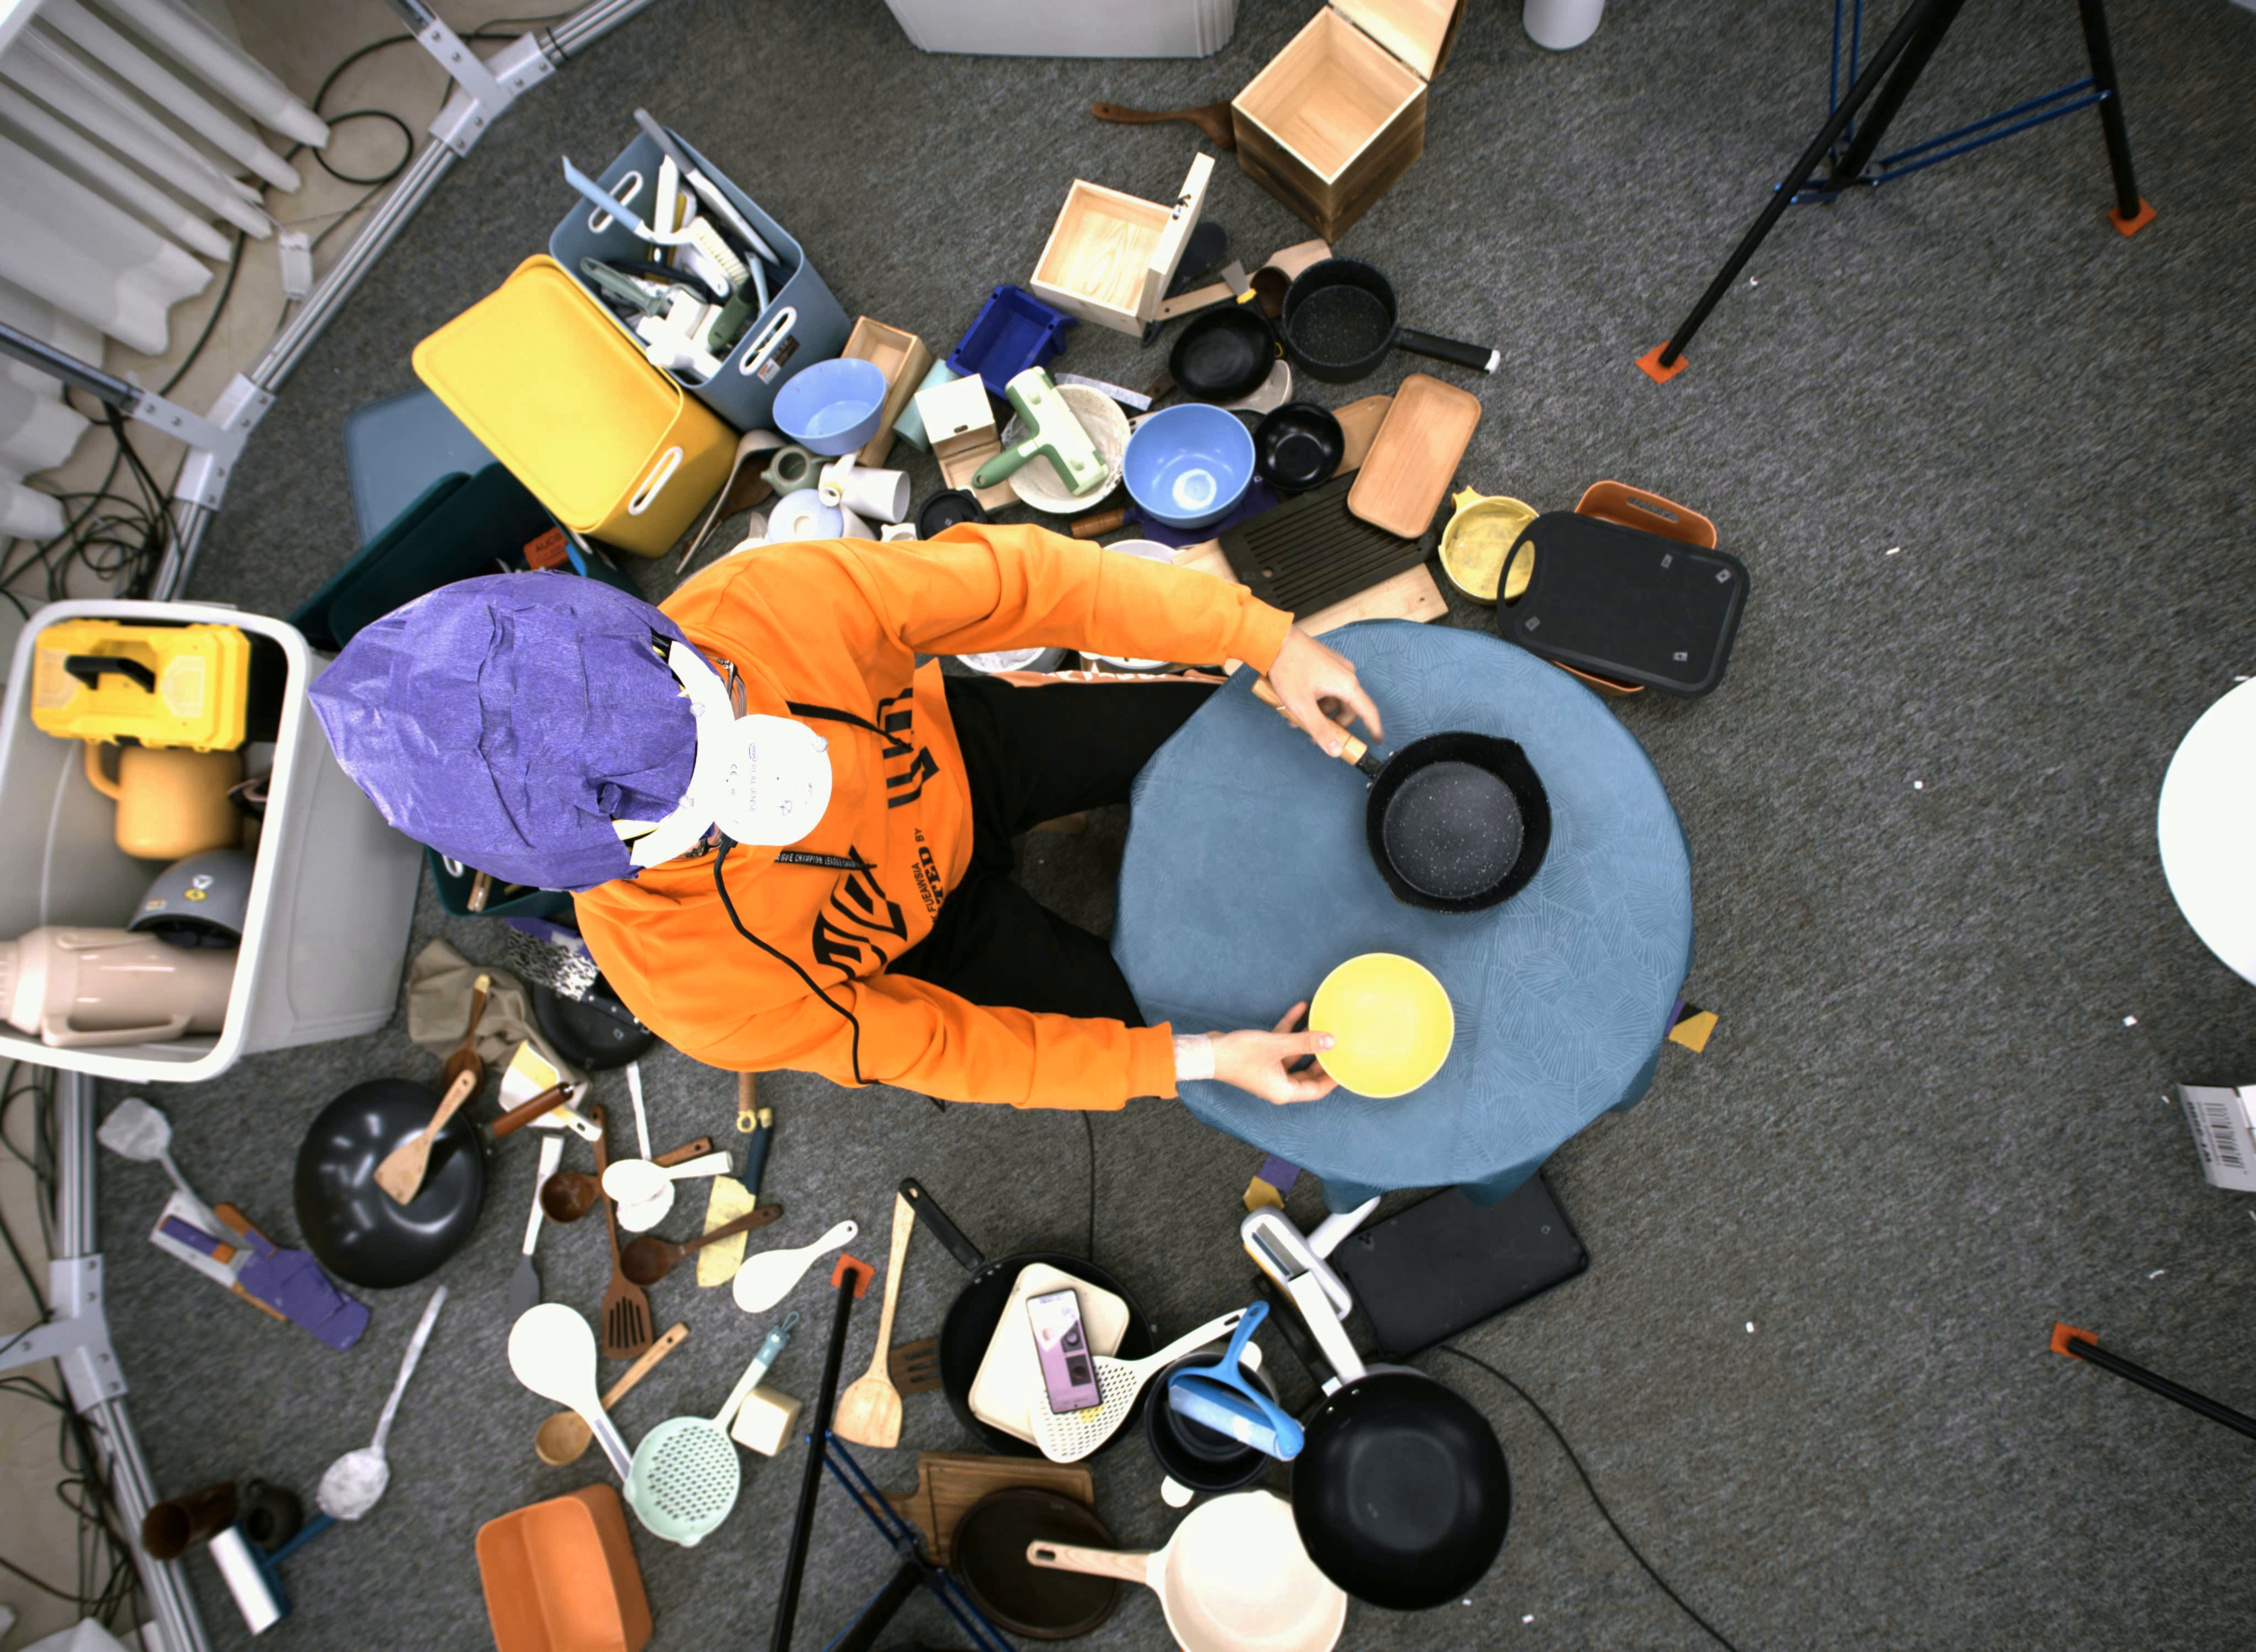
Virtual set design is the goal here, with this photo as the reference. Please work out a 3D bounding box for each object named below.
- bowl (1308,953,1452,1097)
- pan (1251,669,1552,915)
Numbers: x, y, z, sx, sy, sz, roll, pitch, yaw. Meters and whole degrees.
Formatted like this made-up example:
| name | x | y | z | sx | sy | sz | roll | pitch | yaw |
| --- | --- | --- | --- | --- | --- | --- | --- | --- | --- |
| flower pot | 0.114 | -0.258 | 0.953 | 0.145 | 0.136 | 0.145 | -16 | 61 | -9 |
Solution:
| name | x | y | z | sx | sy | sz | roll | pitch | yaw |
| --- | --- | --- | --- | --- | --- | --- | --- | --- | --- |
| bowl | 0.259 | 0.203 | 1.425 | 0.146 | 0.060 | 0.144 | -1 | 85 | 10 |
| pan | 0.269 | -0.048 | 1.412 | 0.342 | 0.108 | 0.208 | 35 | 94 | 9 |
